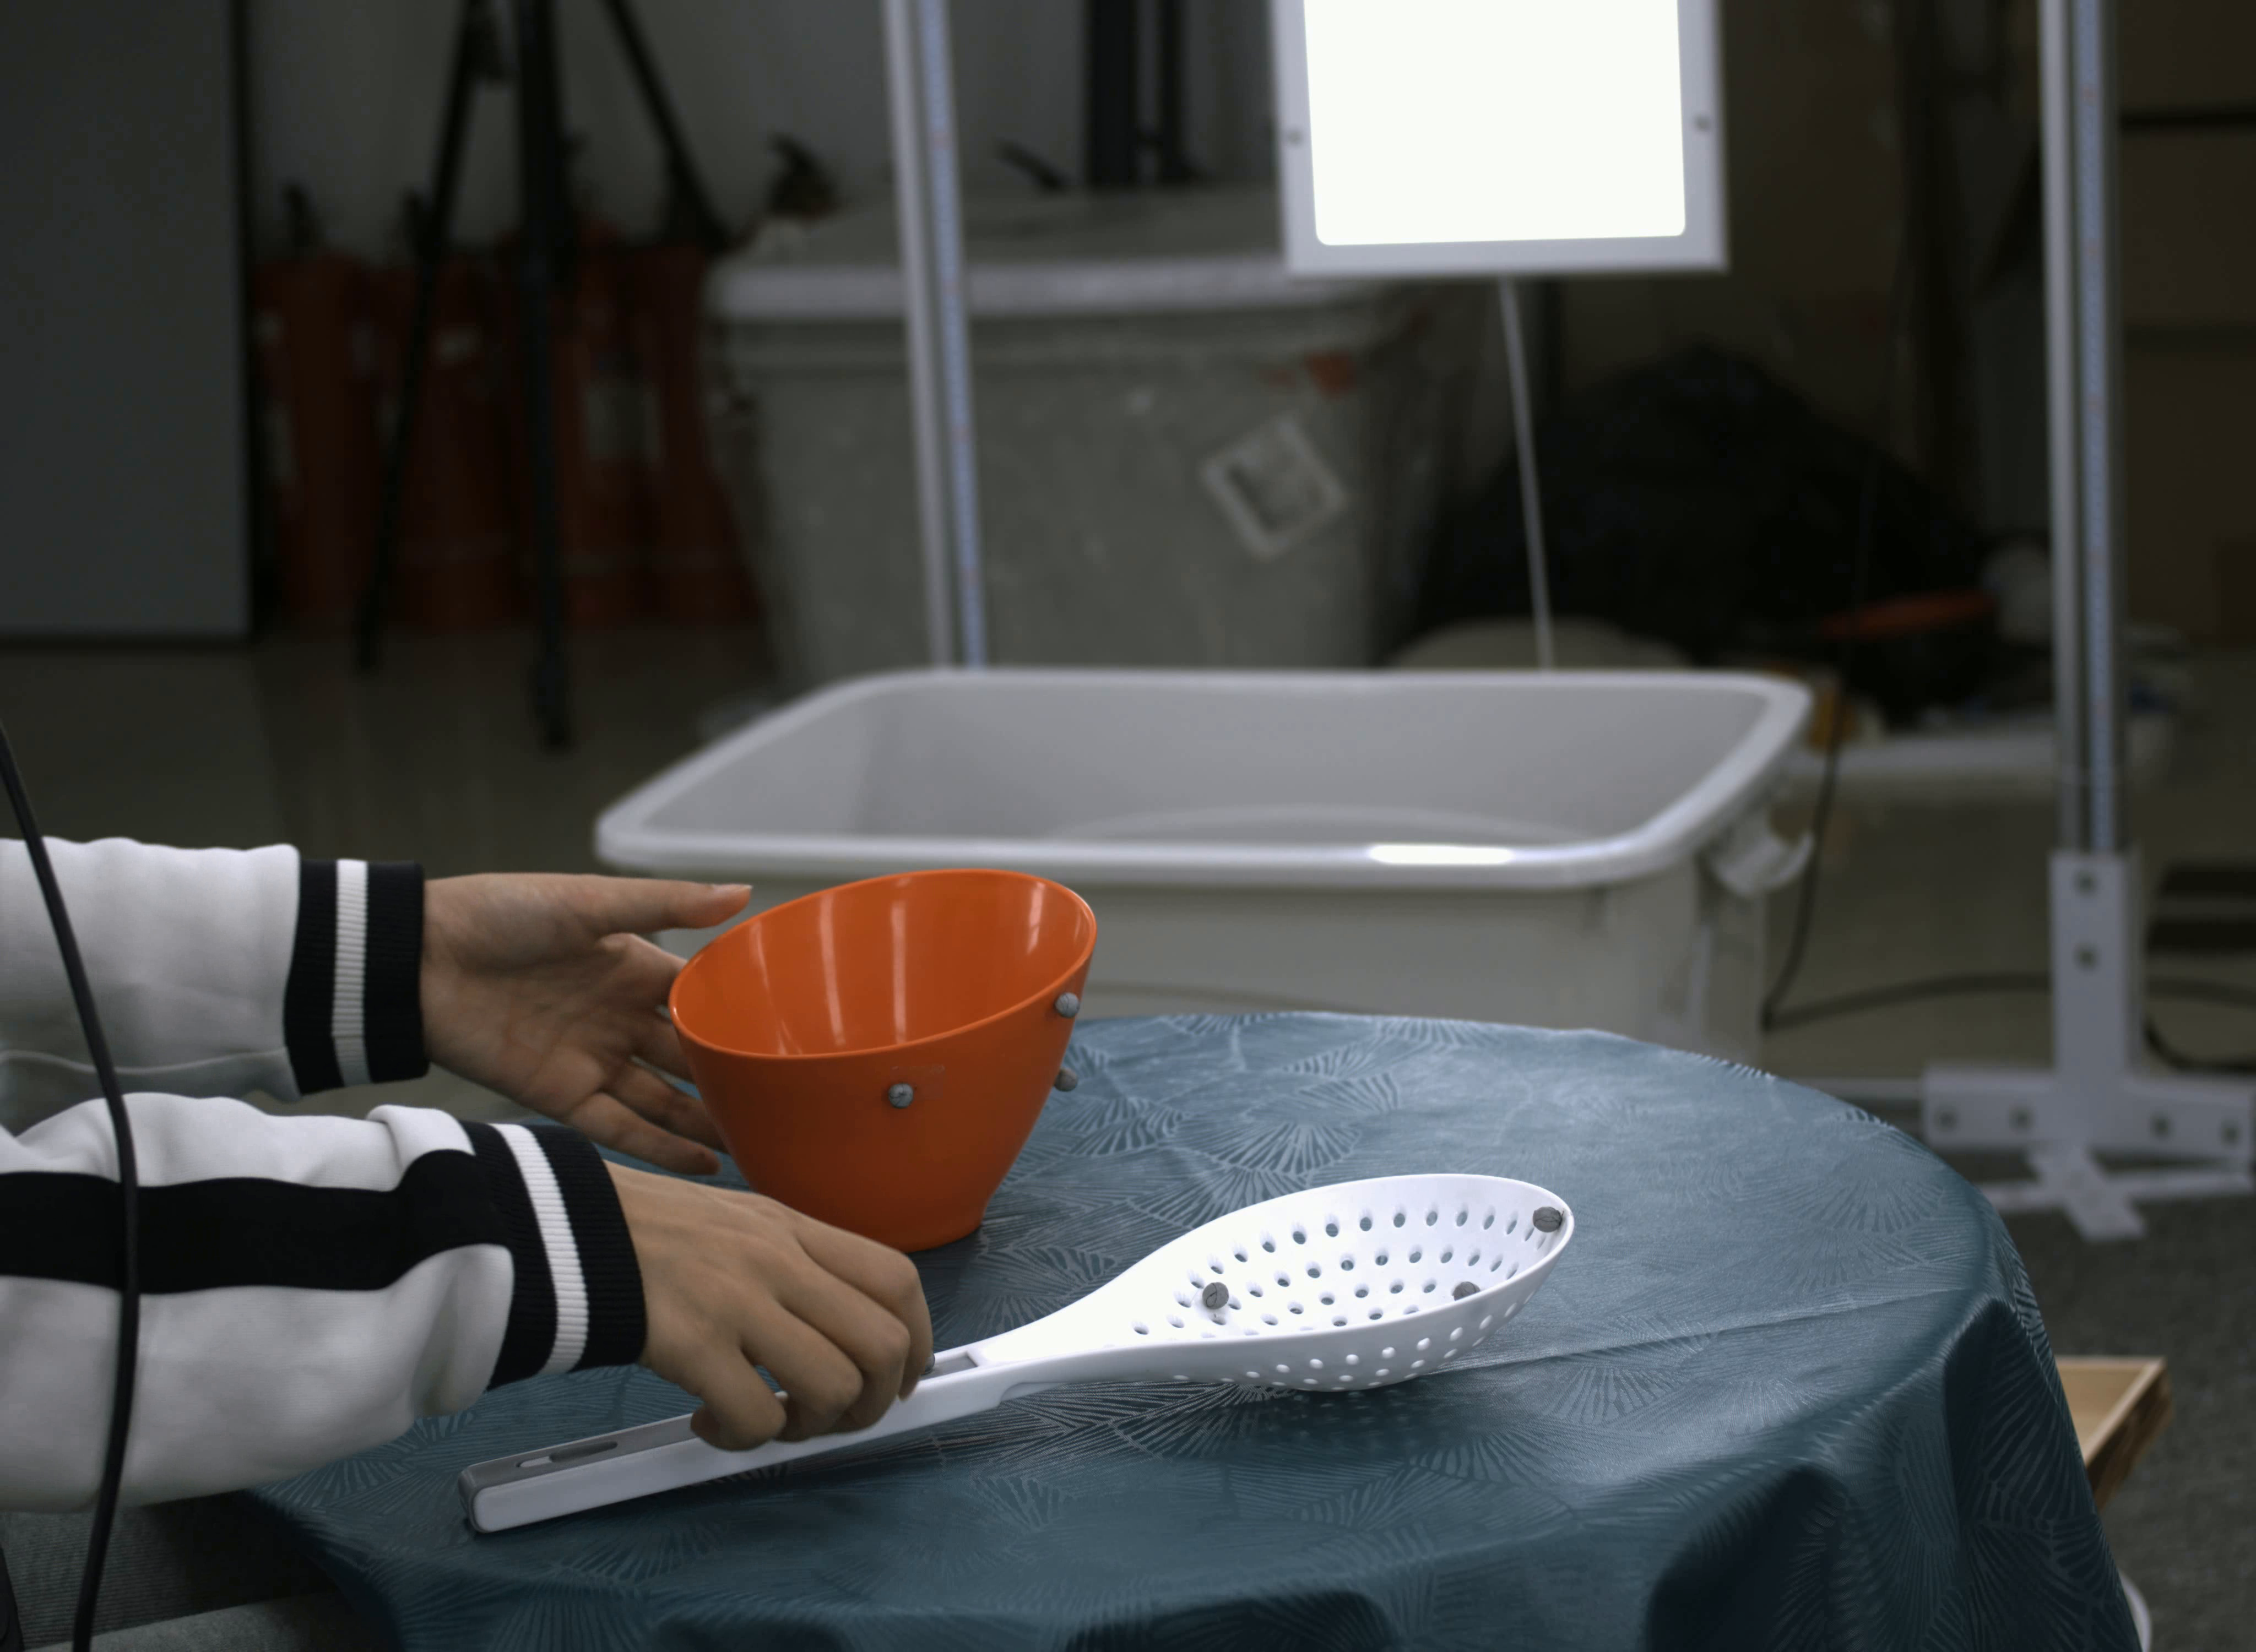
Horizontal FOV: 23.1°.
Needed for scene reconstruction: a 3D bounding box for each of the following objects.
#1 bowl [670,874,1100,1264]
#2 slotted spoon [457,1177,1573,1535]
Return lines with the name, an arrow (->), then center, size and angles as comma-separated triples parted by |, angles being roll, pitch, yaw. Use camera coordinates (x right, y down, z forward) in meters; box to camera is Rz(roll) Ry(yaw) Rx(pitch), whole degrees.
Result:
bowl -> -0.080, 0.087, 1.880 | 0.147, 0.105, 0.148 | -4, 16, 0
slotted spoon -> -0.031, 0.162, 1.669 | 0.345, 0.046, 0.137 | -9, 13, -12
